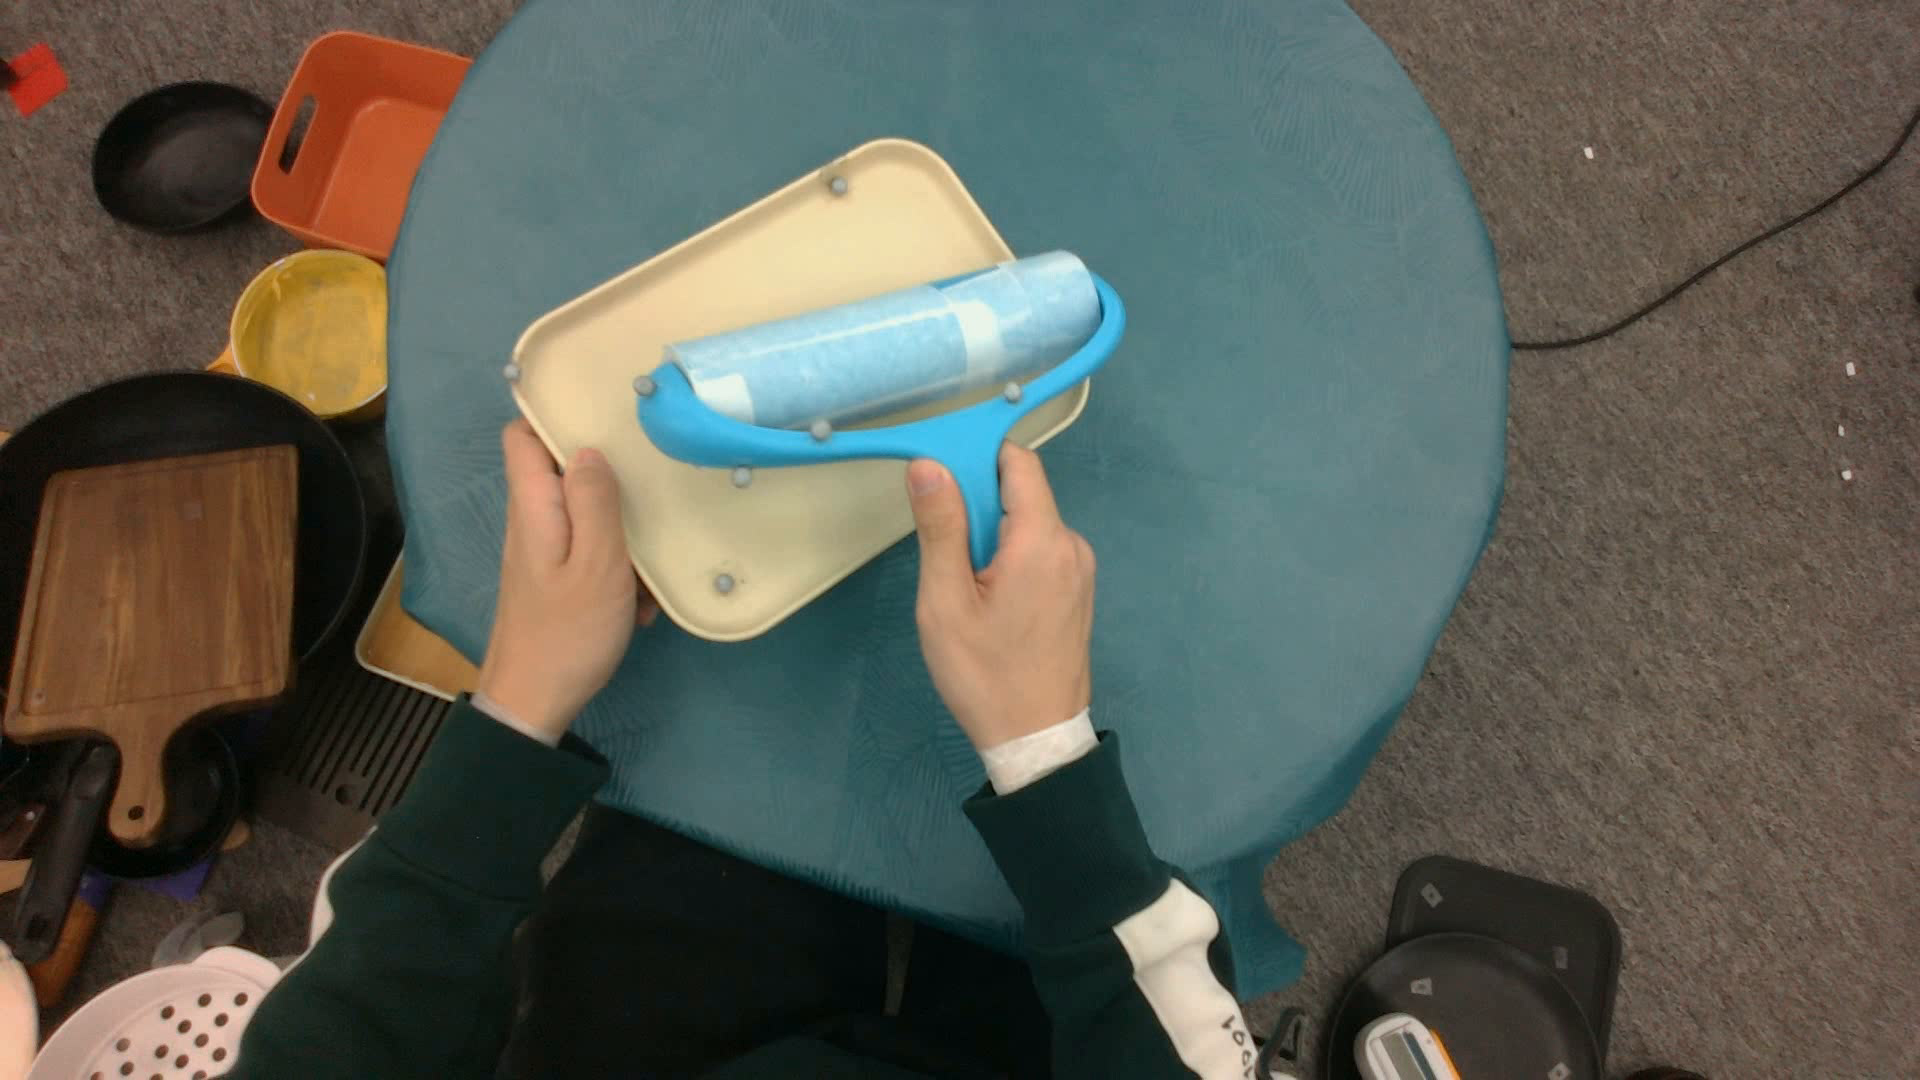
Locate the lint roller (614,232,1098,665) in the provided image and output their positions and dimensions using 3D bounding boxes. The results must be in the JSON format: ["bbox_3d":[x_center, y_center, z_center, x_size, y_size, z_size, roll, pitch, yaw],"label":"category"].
[{"bbox_3d":[-0.013,-0.036,0.597,0.230,0.067,0.180,-24,78,-27],"label":"lint roller"}]

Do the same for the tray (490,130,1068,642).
[{"bbox_3d":[-0.077,-0.077,0.641,0.240,0.017,0.171,-36,88,-20],"label":"tray"}]
